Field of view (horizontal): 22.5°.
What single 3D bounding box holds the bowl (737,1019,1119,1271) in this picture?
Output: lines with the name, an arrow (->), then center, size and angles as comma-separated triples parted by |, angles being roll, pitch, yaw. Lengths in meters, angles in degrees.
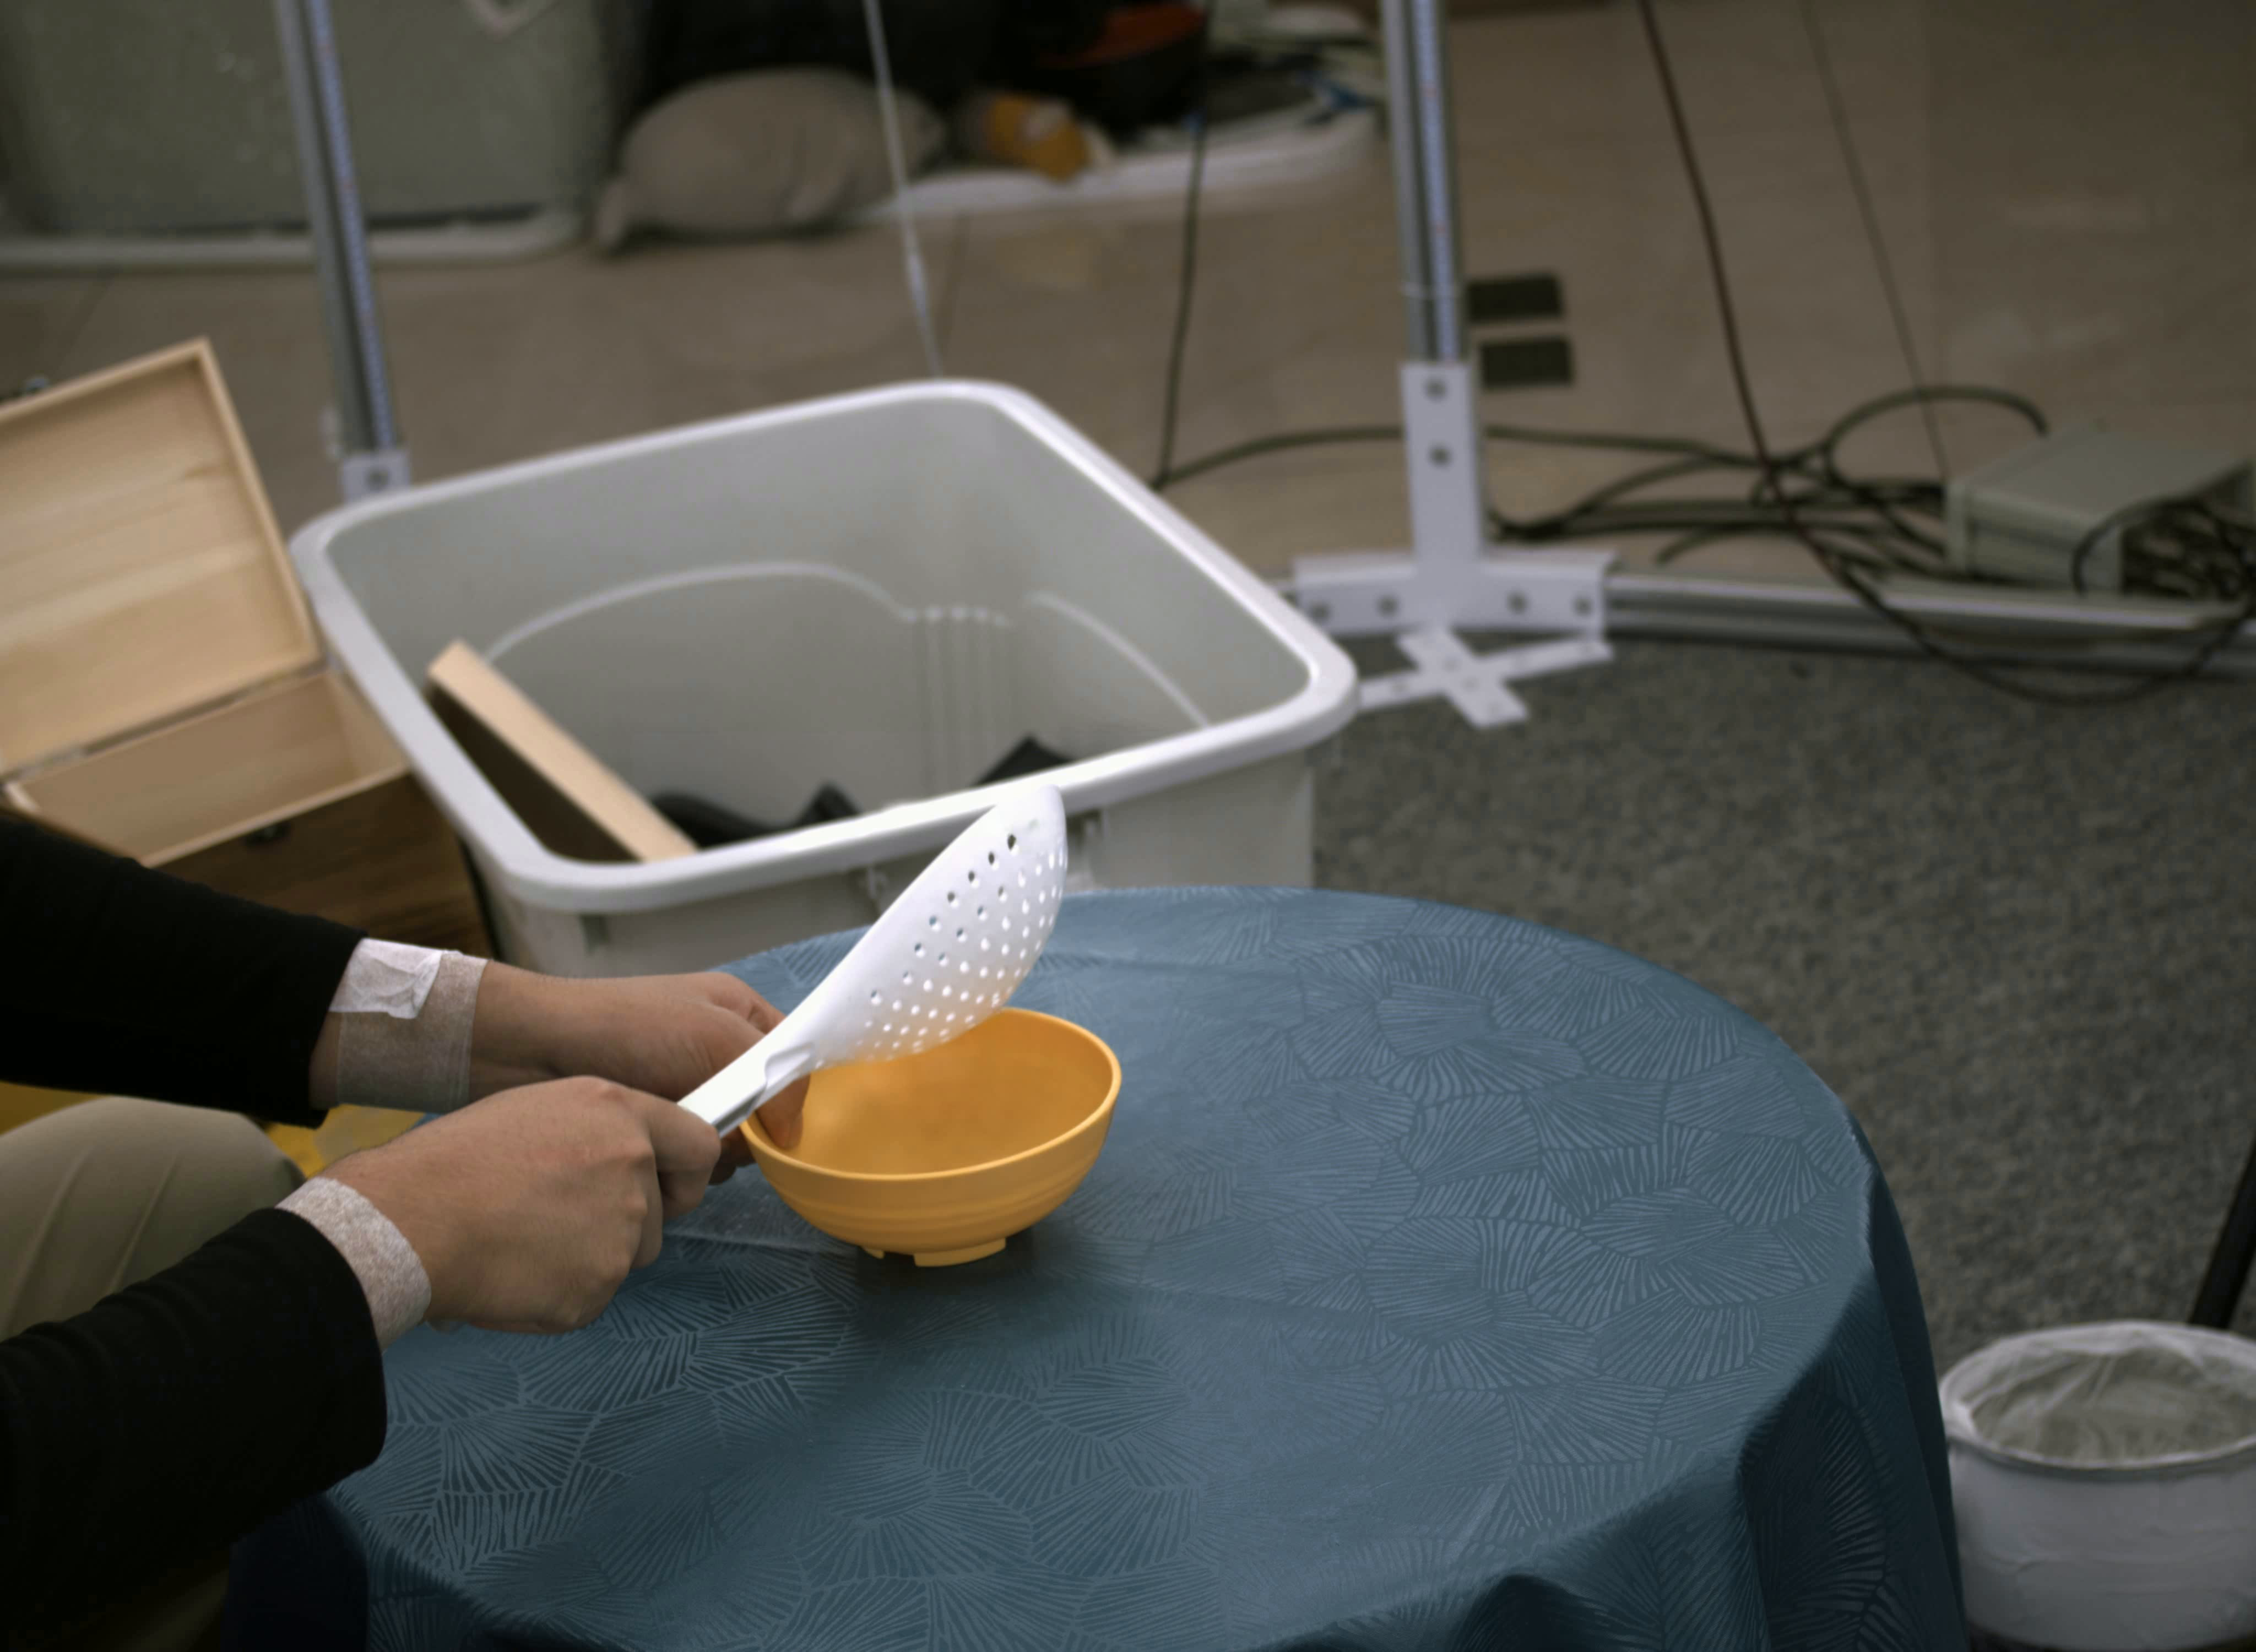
bowl -> -0.073, 0.126, 2.125 | 0.145, 0.061, 0.143 | -3, 22, 2

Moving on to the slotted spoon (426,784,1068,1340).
slotted spoon -> -0.130, 0.088, 2.037 | 0.045, 0.138, 0.346 | 46, 47, 14
